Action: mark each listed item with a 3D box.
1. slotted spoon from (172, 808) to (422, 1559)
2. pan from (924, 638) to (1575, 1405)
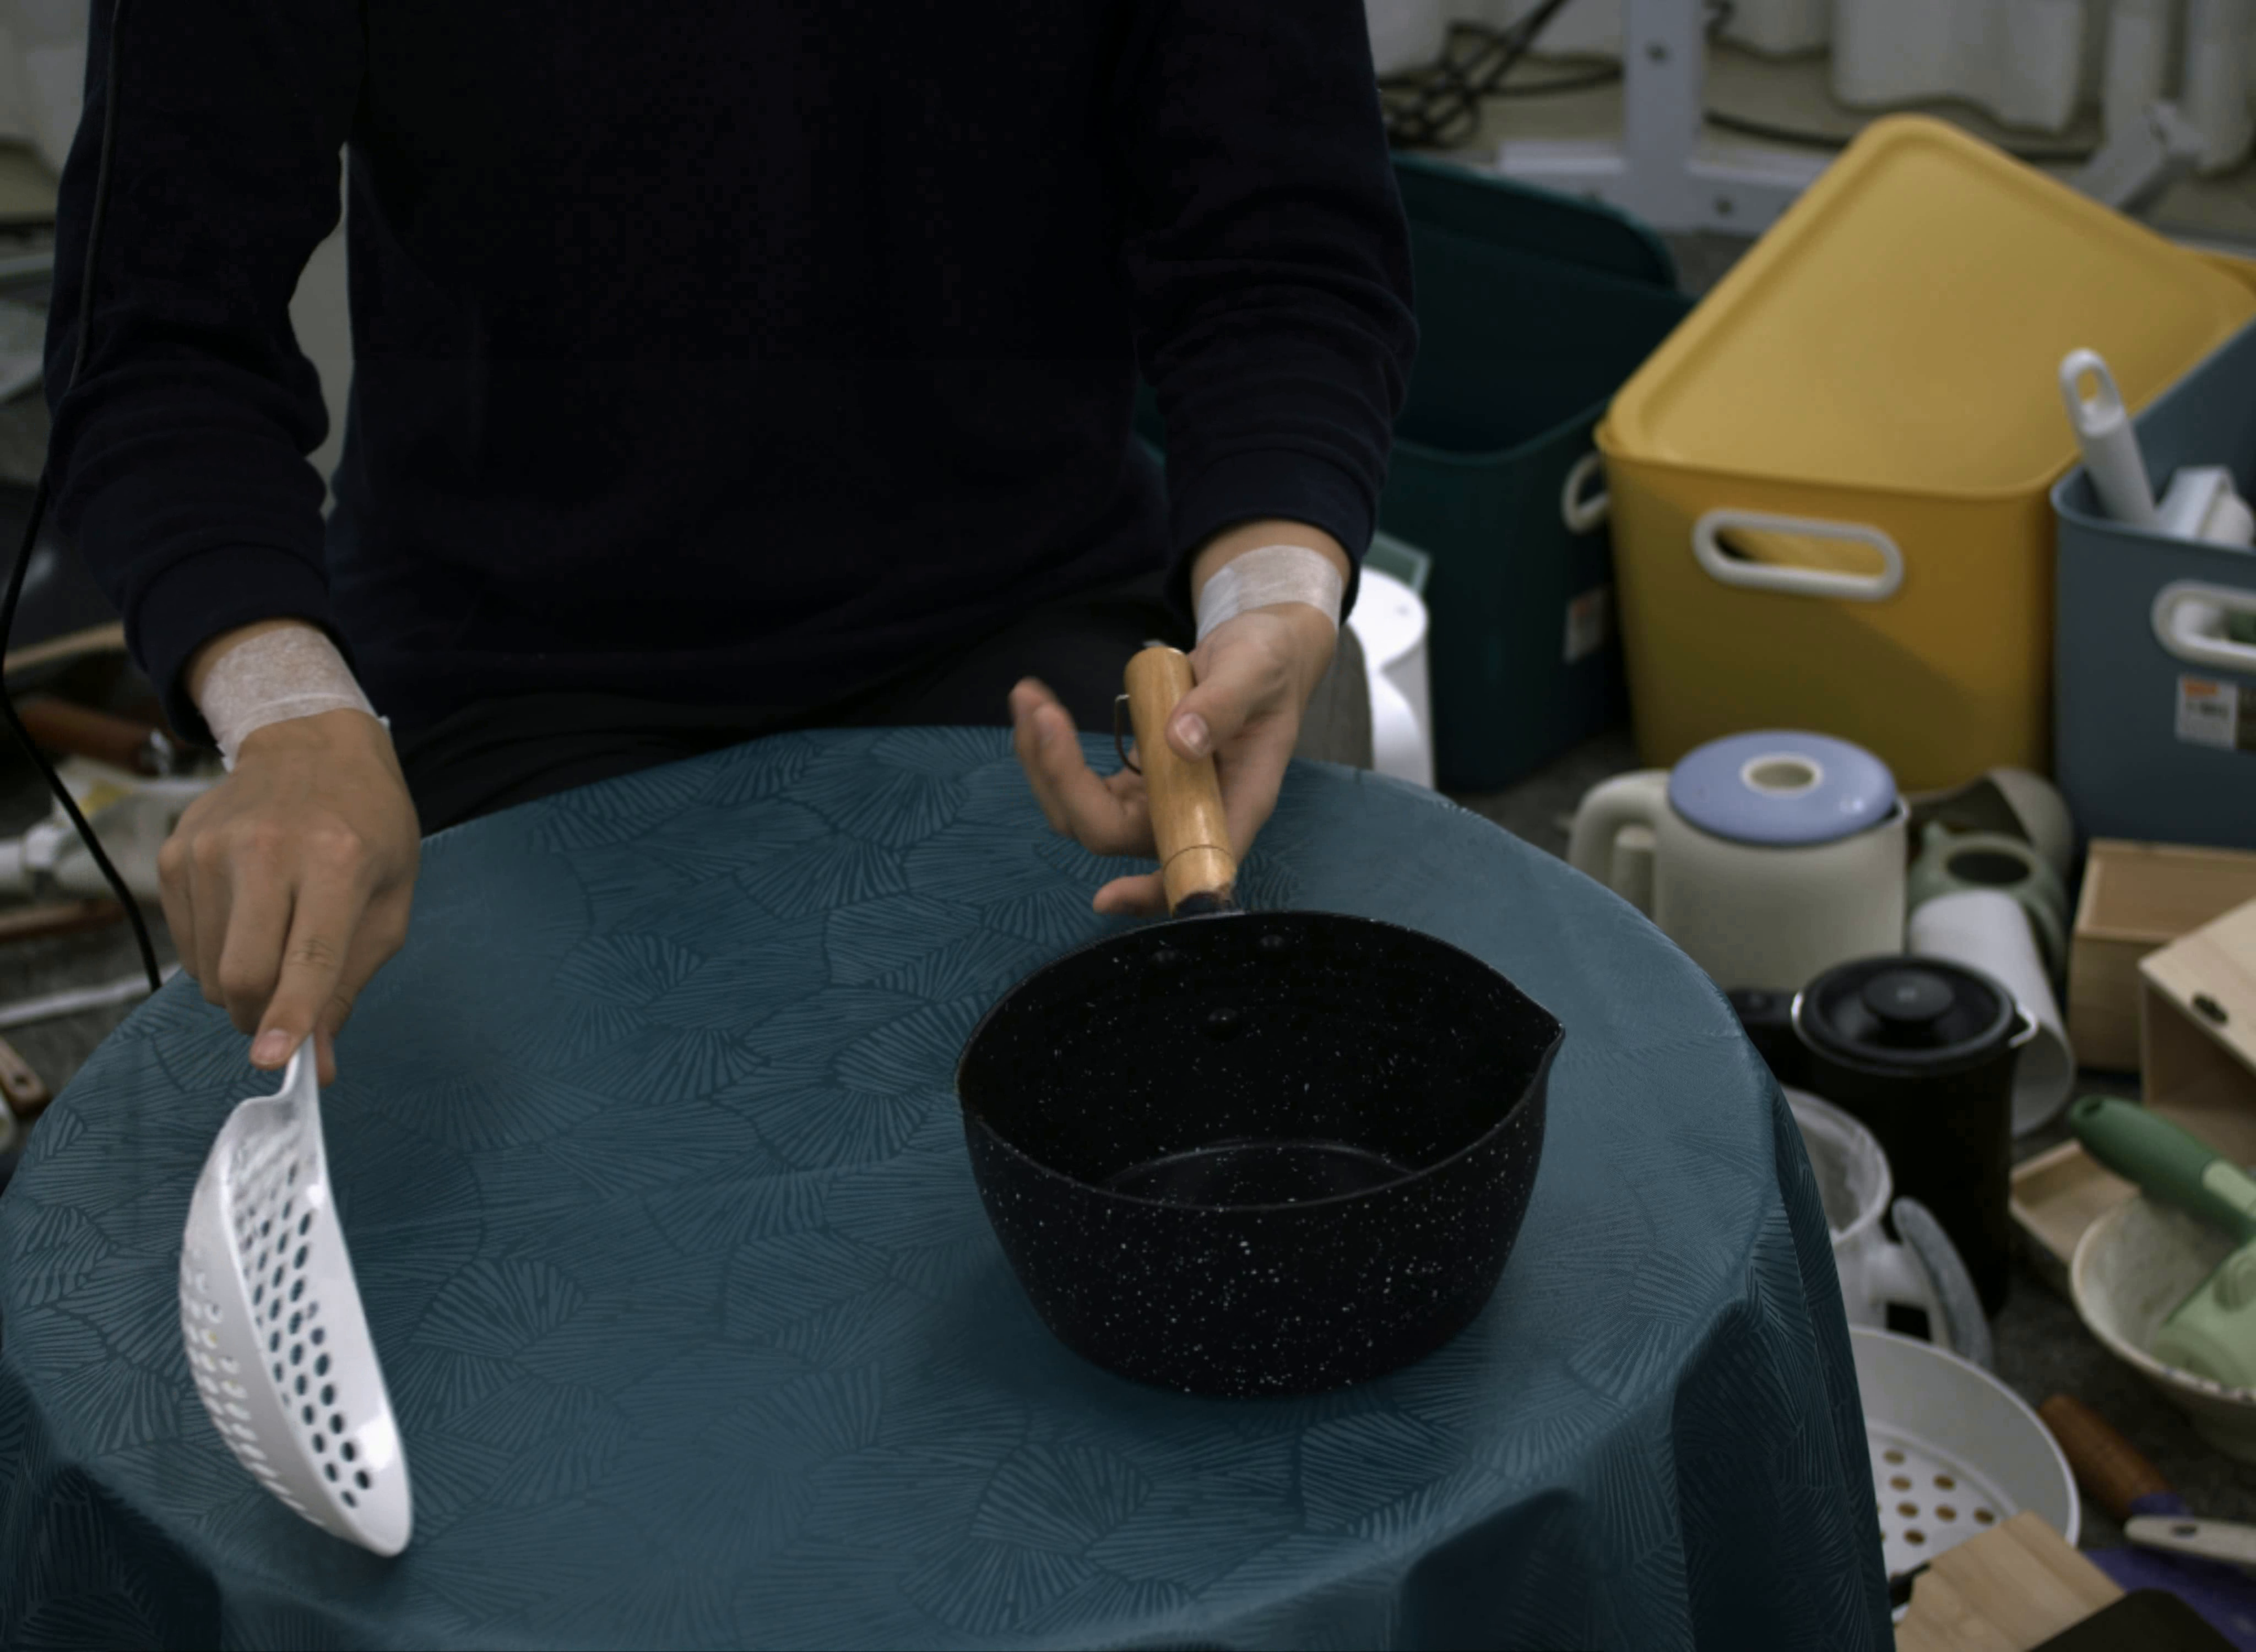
[{"bbox_3d":[-0.274,0.098,1.778,0.050,0.135,0.353,-20,35,6],"label":"slotted spoon"},{"bbox_3d":[0.031,0.061,1.860,0.207,0.107,0.347,-7,29,-5],"label":"pan"}]
